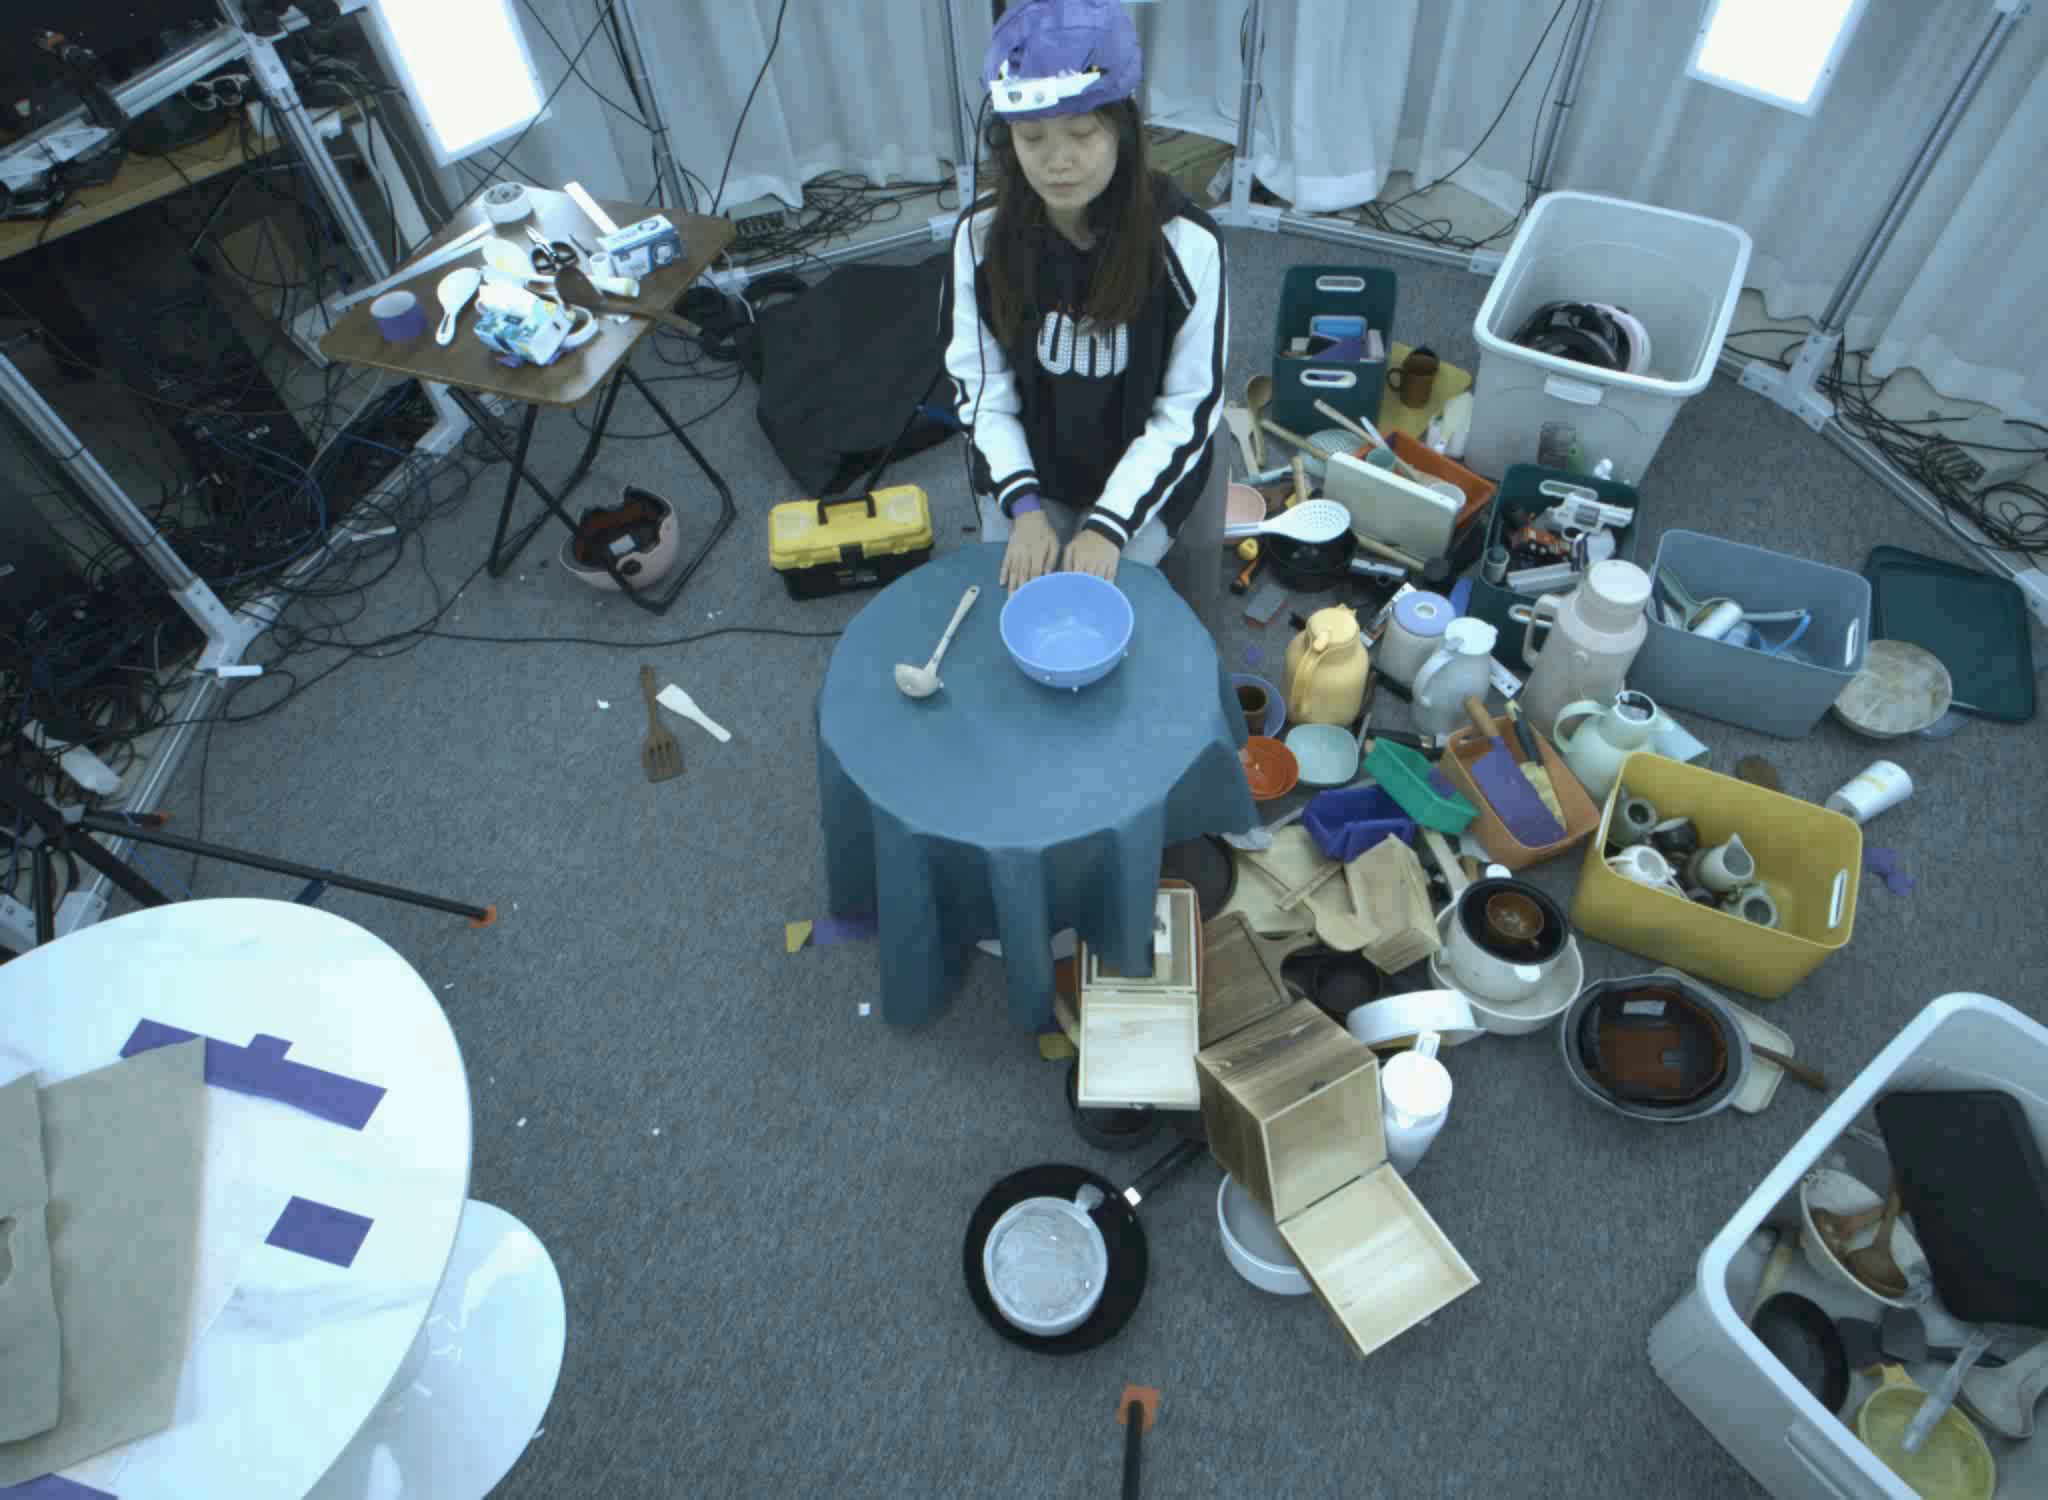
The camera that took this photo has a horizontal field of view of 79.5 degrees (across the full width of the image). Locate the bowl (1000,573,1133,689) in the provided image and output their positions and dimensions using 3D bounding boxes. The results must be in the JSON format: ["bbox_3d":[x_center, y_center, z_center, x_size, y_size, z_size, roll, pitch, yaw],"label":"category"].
[{"bbox_3d":[0.065,-0.164,1.846,0.196,0.096,0.194,-1,54,3],"label":"bowl"}]

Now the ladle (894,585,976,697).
[{"bbox_3d":[-0.126,-0.188,1.880,0.071,0.073,0.254,15,57,12],"label":"ladle"}]
